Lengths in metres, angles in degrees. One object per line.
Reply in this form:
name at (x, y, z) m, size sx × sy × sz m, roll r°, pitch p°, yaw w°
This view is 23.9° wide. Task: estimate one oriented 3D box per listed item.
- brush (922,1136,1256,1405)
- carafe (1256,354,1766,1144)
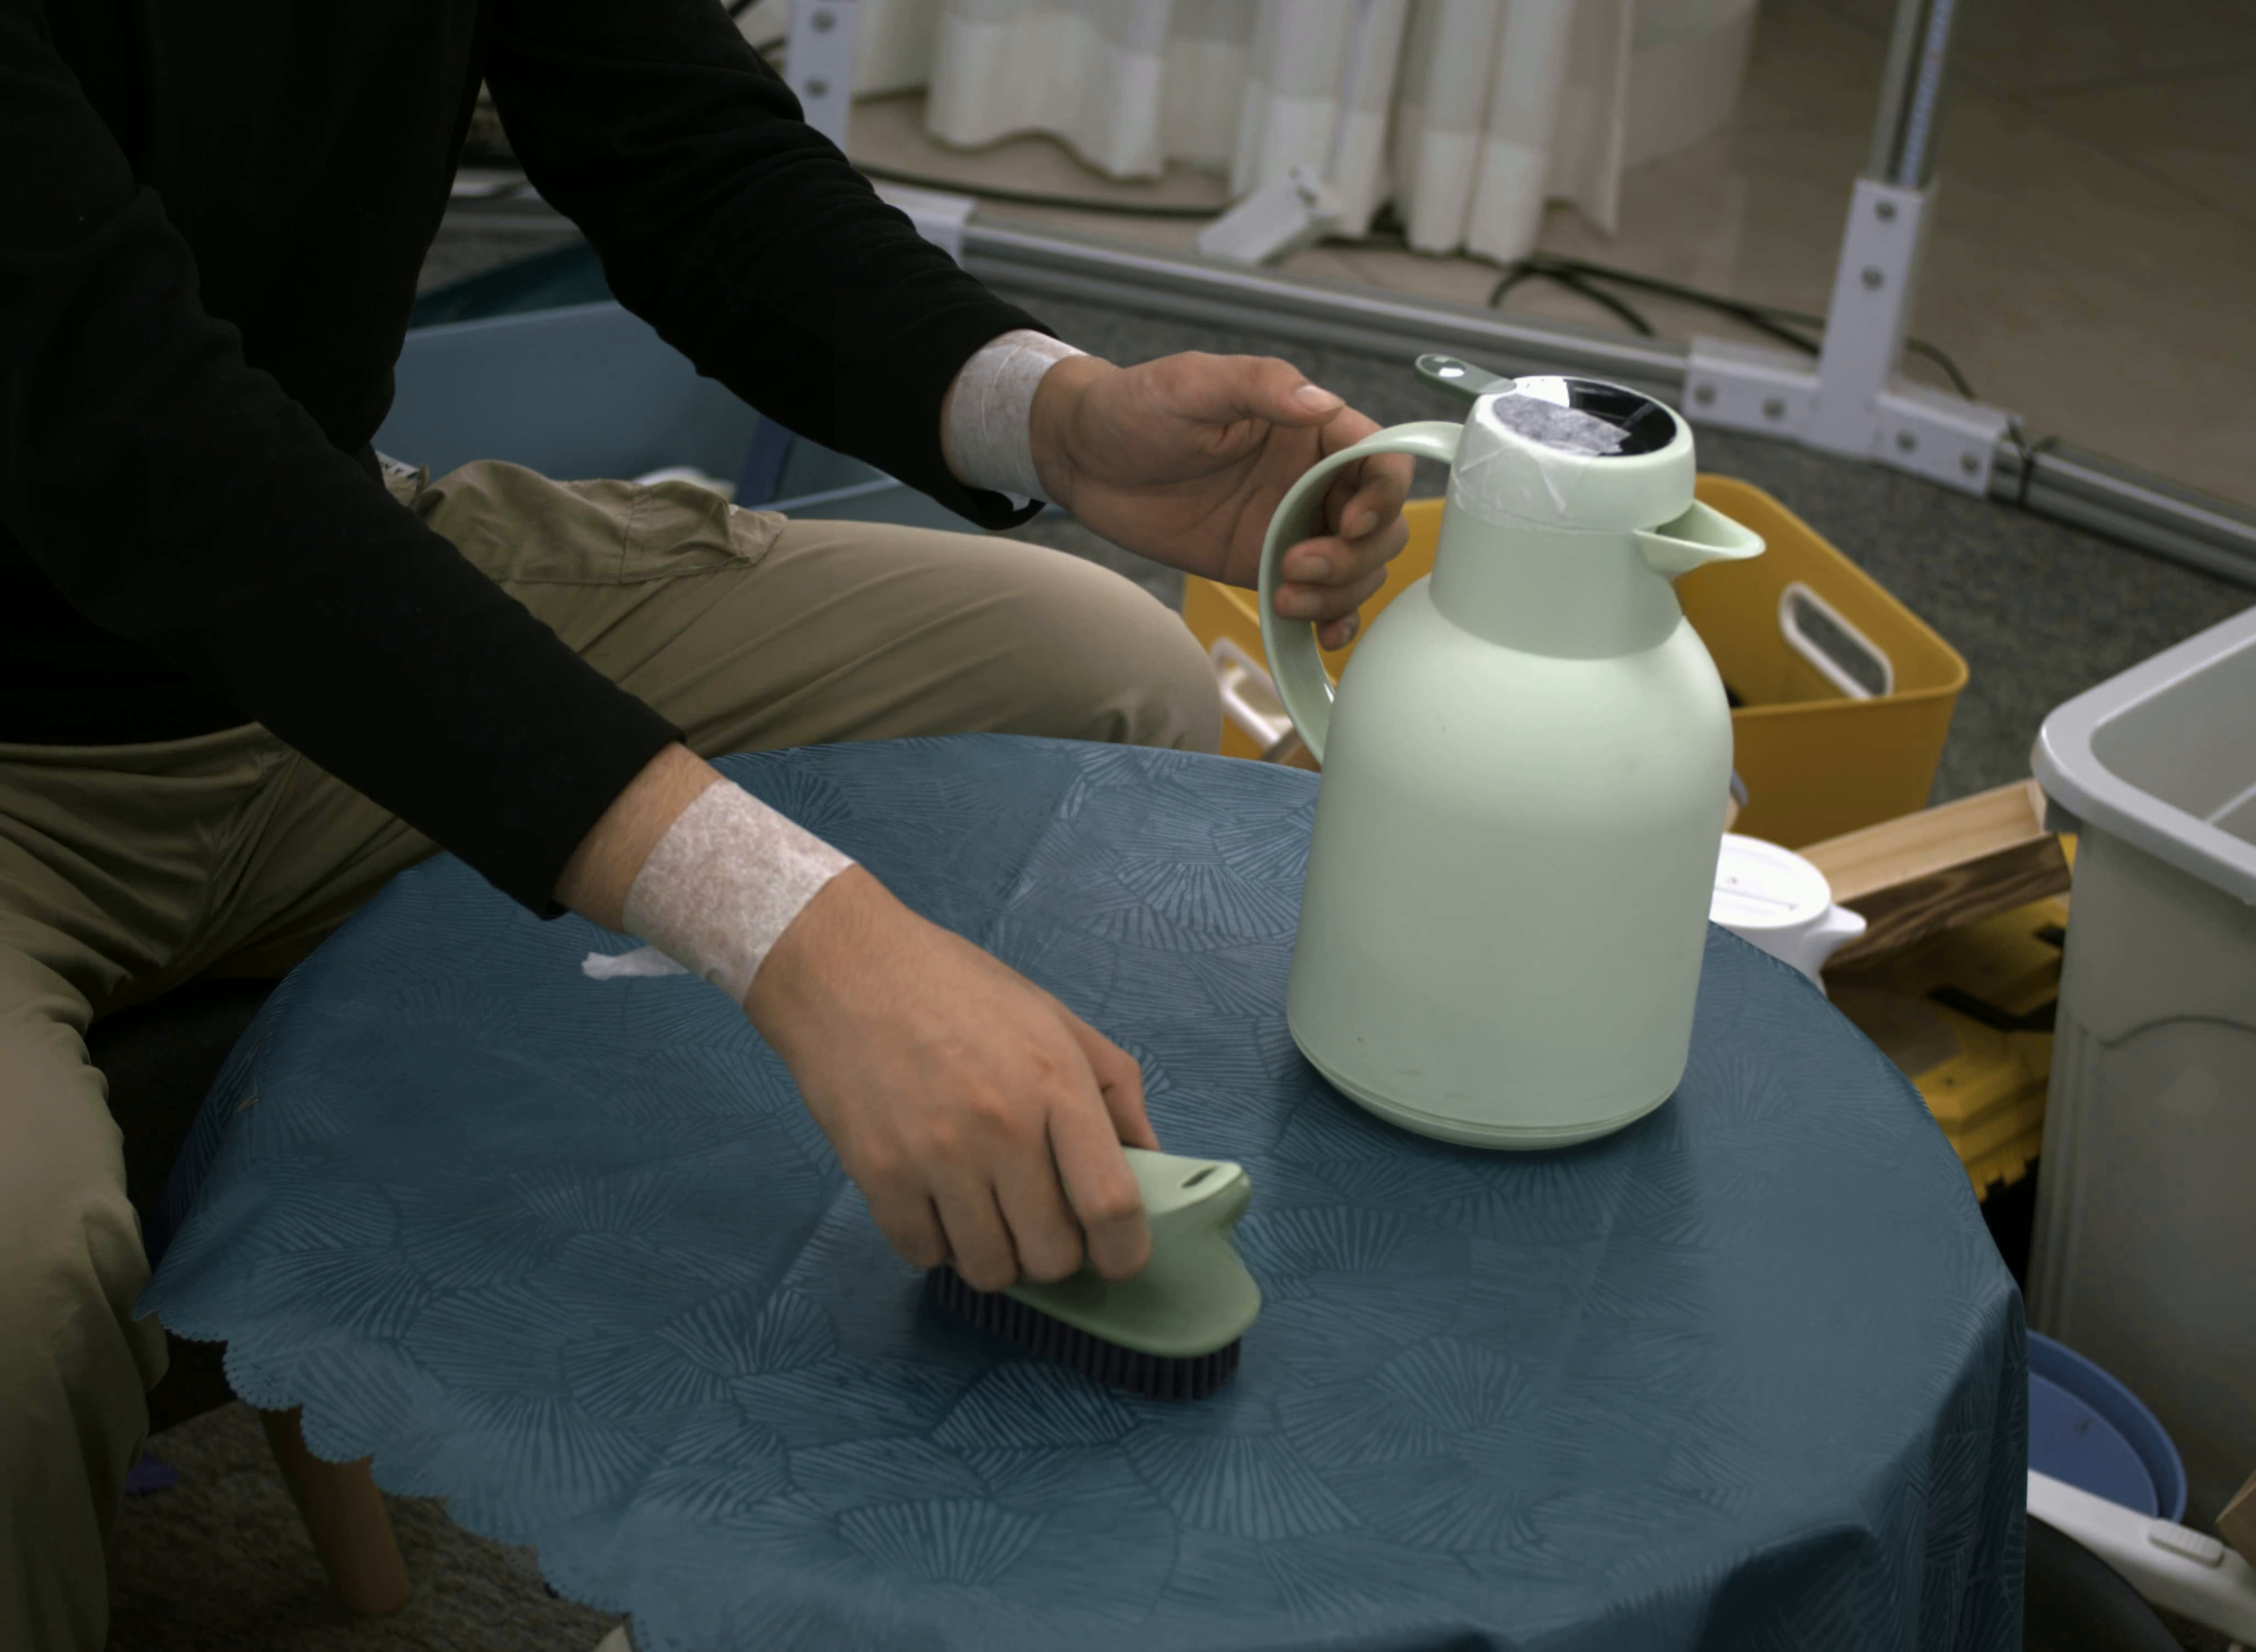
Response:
brush at (-0.012, 0.141, 1.716) m, size 0.123 × 0.075 × 0.059 m, roll 4°, pitch 23°, yaw 41°
carafe at (0.126, -0.033, 1.853) m, size 0.188 × 0.256 × 0.144 m, roll 20°, pitch 29°, yaw 29°
